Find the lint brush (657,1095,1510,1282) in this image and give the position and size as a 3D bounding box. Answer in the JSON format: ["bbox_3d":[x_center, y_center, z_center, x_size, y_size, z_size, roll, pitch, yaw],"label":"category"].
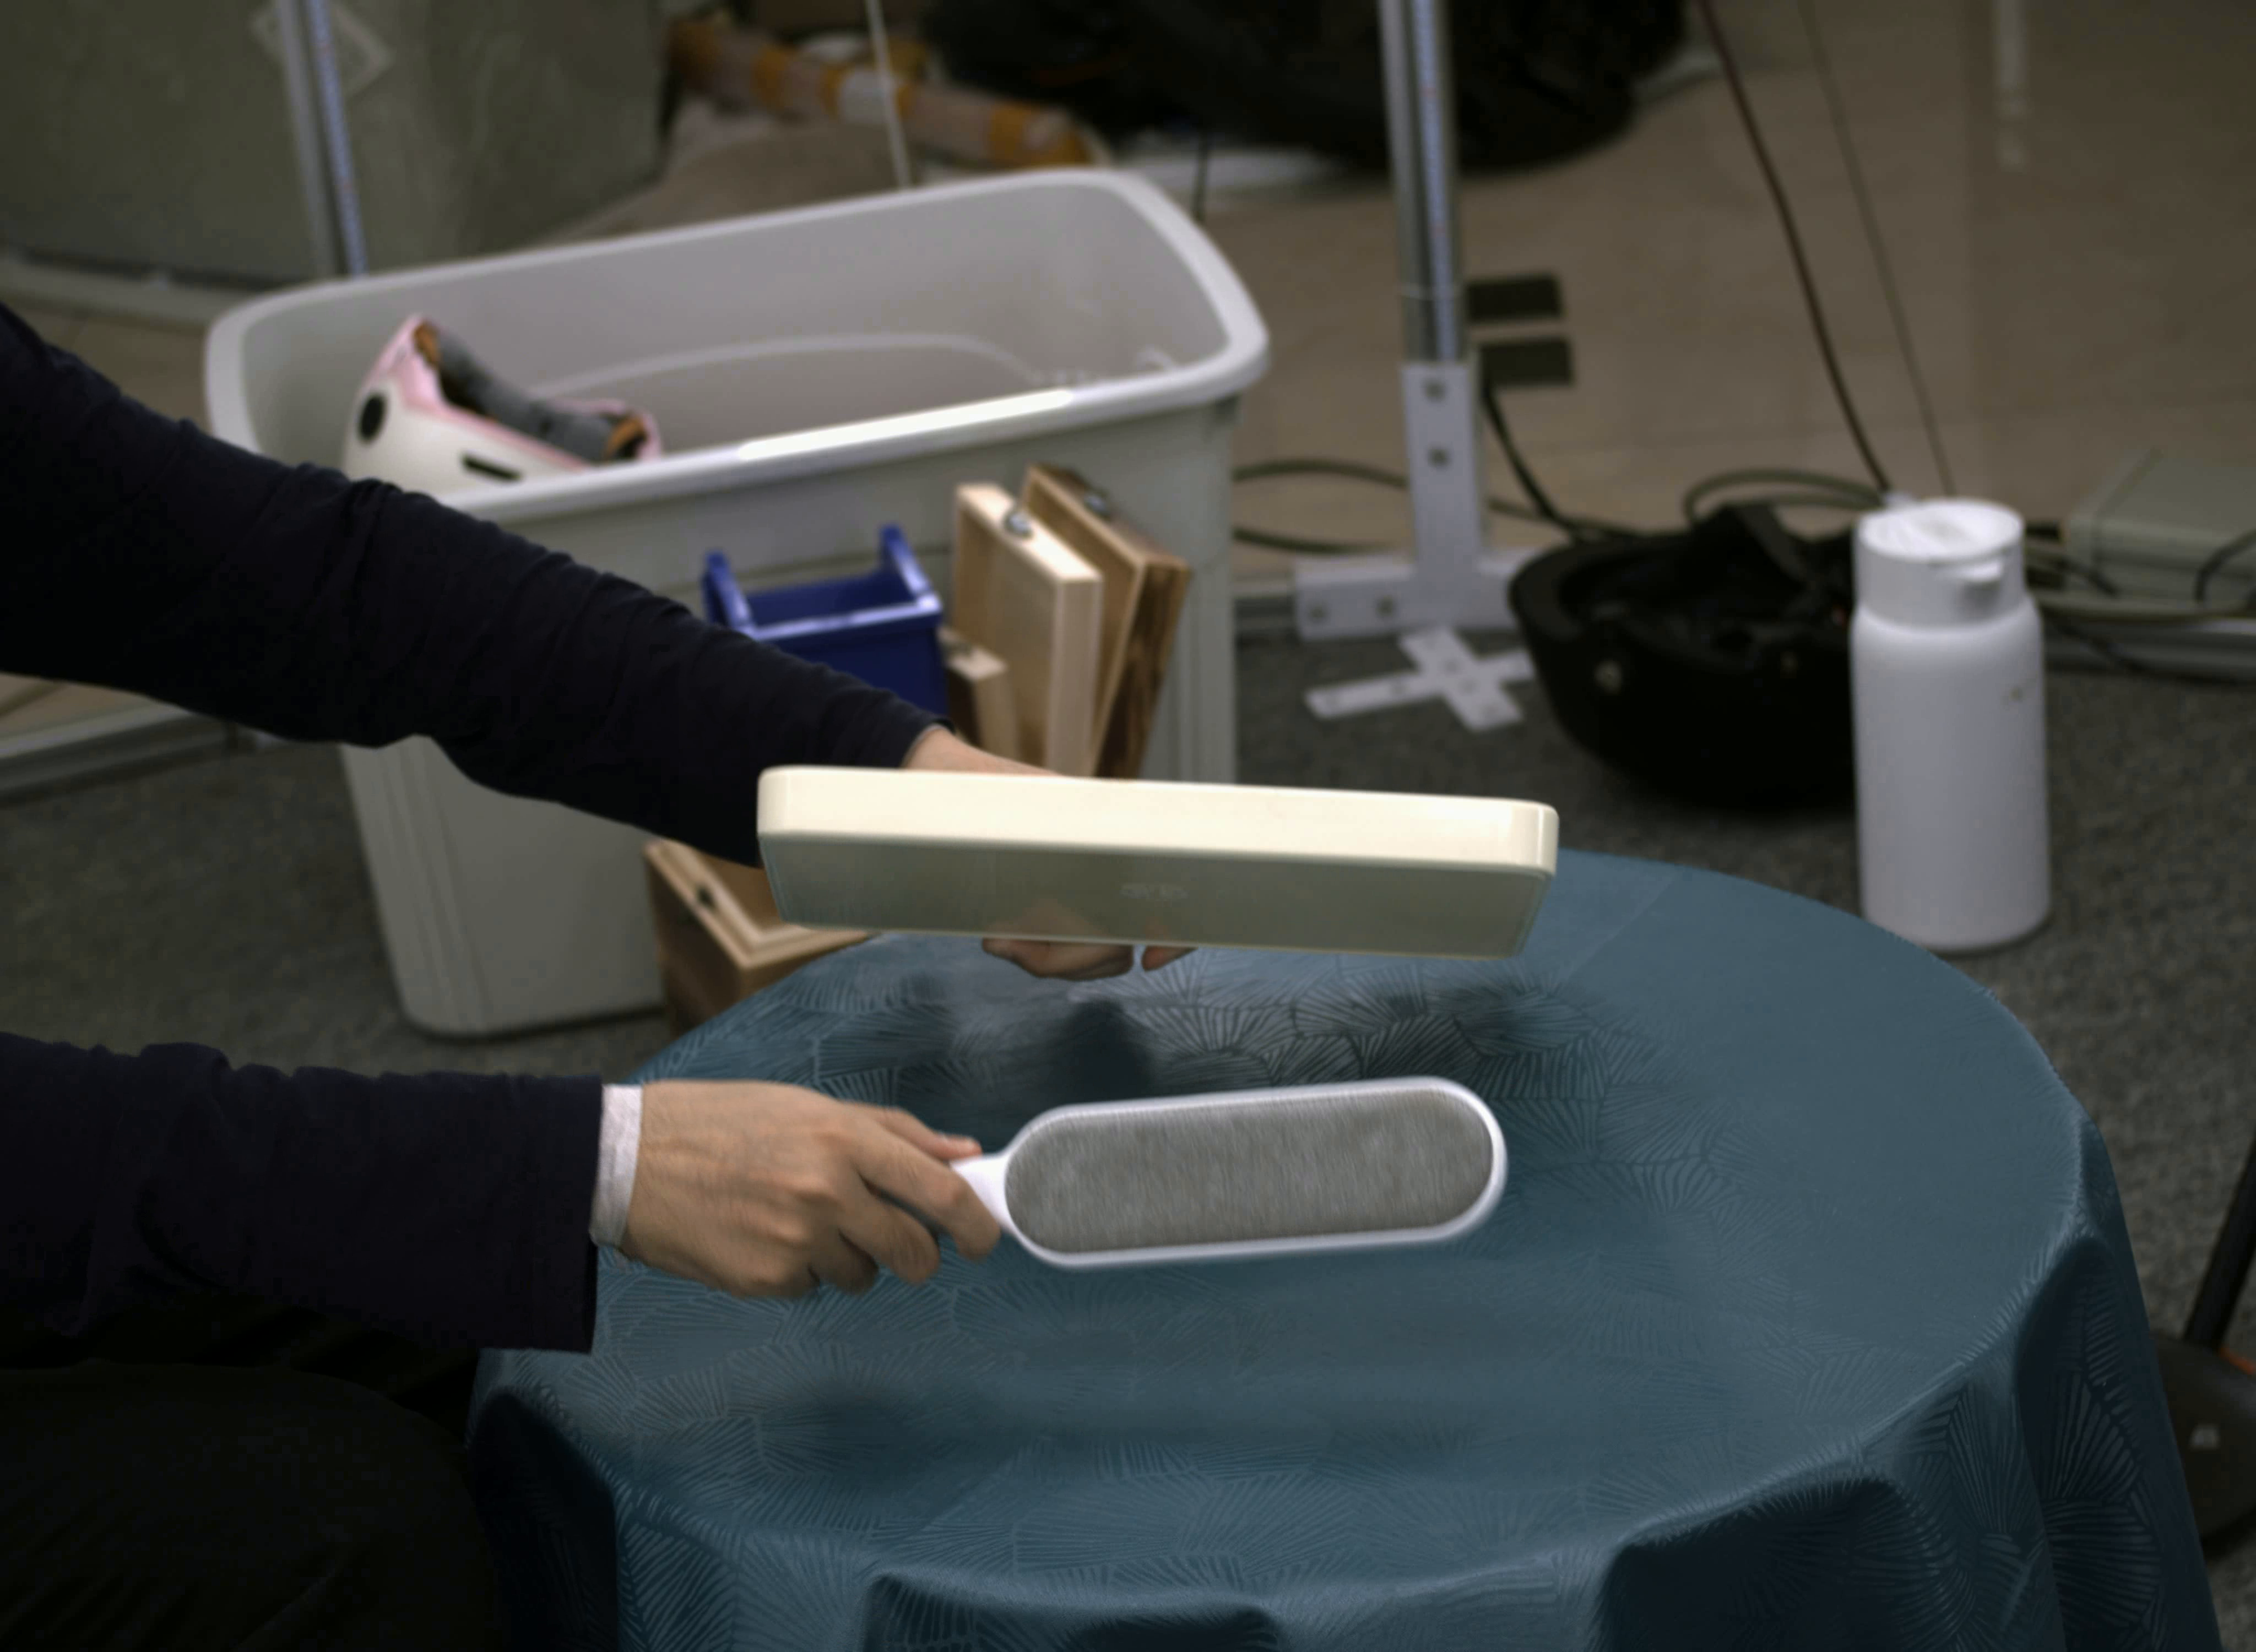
[{"bbox_3d":[-0.018,0.130,1.989,0.308,0.060,0.021,-5,-9,13],"label":"lint brush"}]

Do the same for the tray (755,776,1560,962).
[{"bbox_3d":[0.011,0.018,2.179,0.300,0.027,0.193,2,-12,0],"label":"tray"}]
